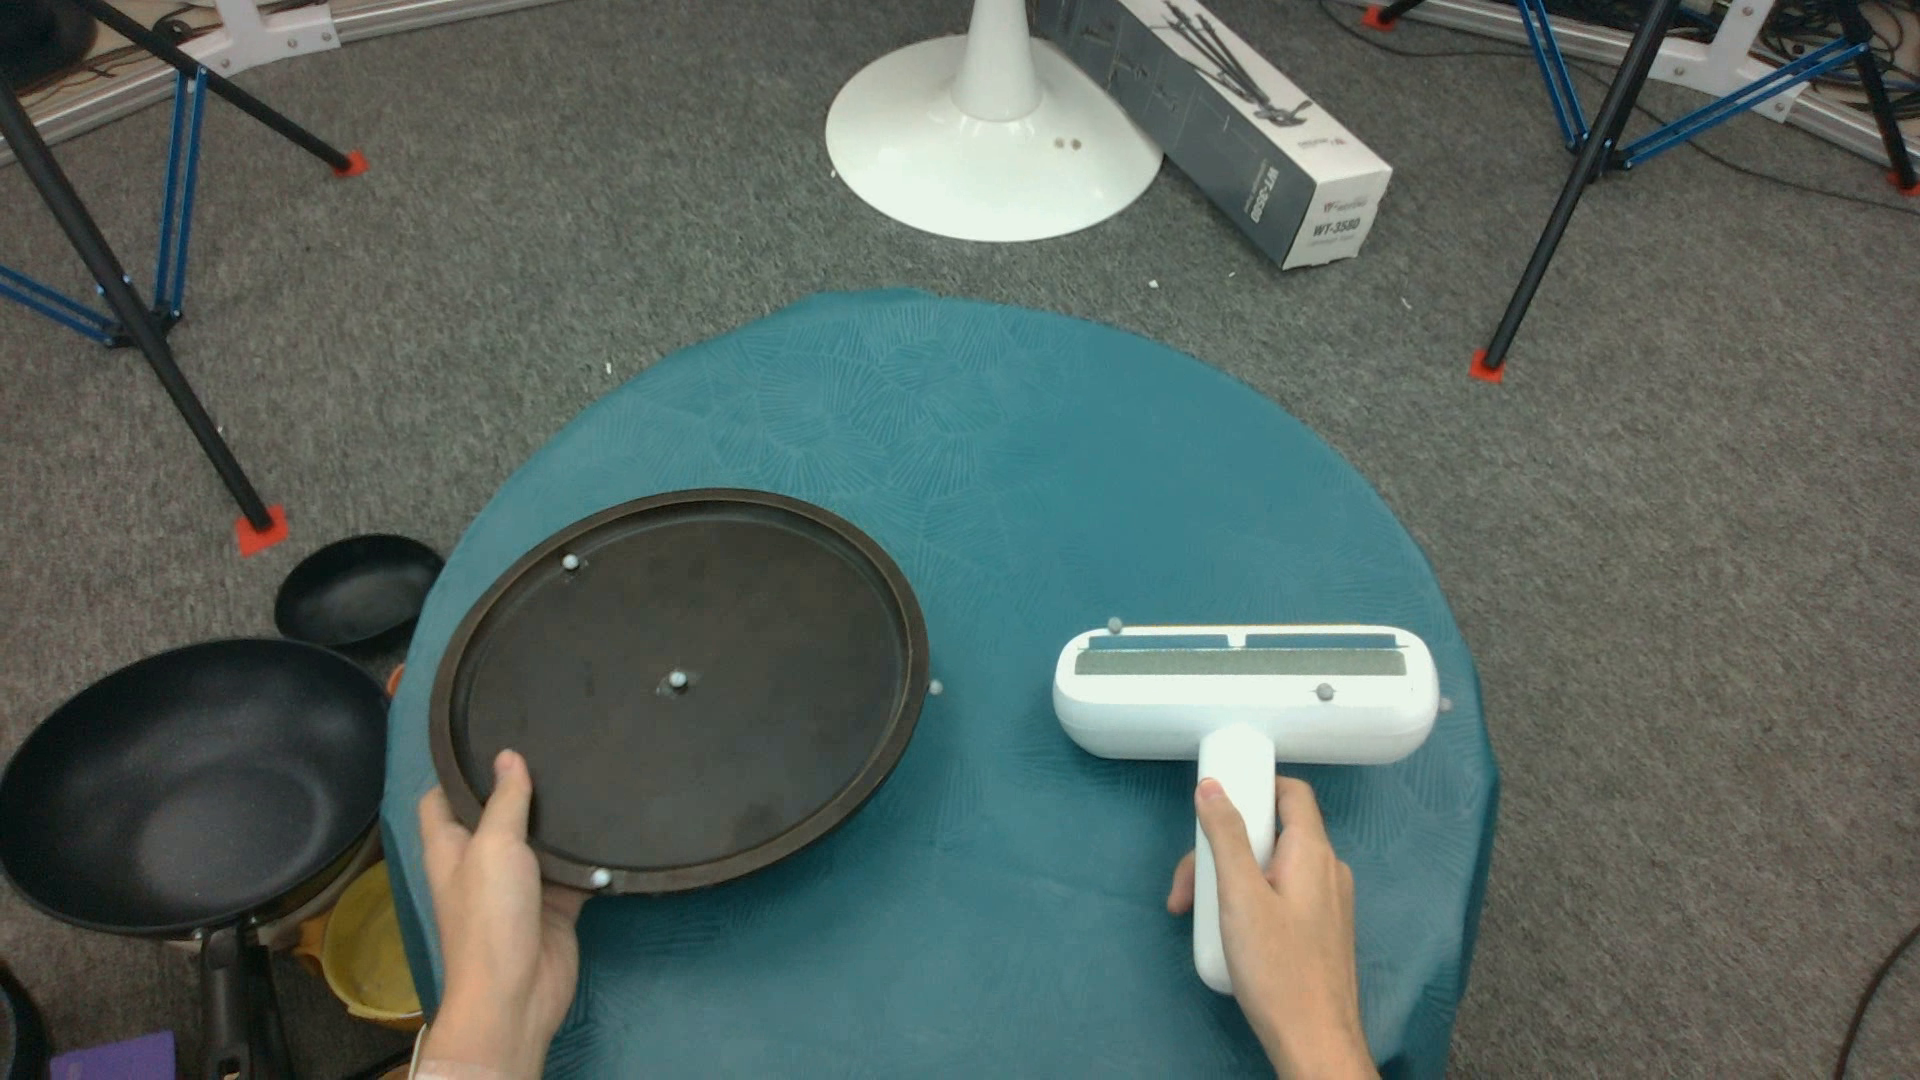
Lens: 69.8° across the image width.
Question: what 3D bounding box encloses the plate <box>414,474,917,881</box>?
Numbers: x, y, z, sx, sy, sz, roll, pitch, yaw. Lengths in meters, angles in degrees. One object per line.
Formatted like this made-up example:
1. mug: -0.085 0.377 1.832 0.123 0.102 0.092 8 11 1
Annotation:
1. plate: -0.149 0.062 0.712 0.255 0.029 0.256 0 50 0

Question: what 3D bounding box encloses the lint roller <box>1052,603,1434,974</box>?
1. lint roller: 0.131 0.115 0.679 0.192 0.074 0.193 5 46 14
